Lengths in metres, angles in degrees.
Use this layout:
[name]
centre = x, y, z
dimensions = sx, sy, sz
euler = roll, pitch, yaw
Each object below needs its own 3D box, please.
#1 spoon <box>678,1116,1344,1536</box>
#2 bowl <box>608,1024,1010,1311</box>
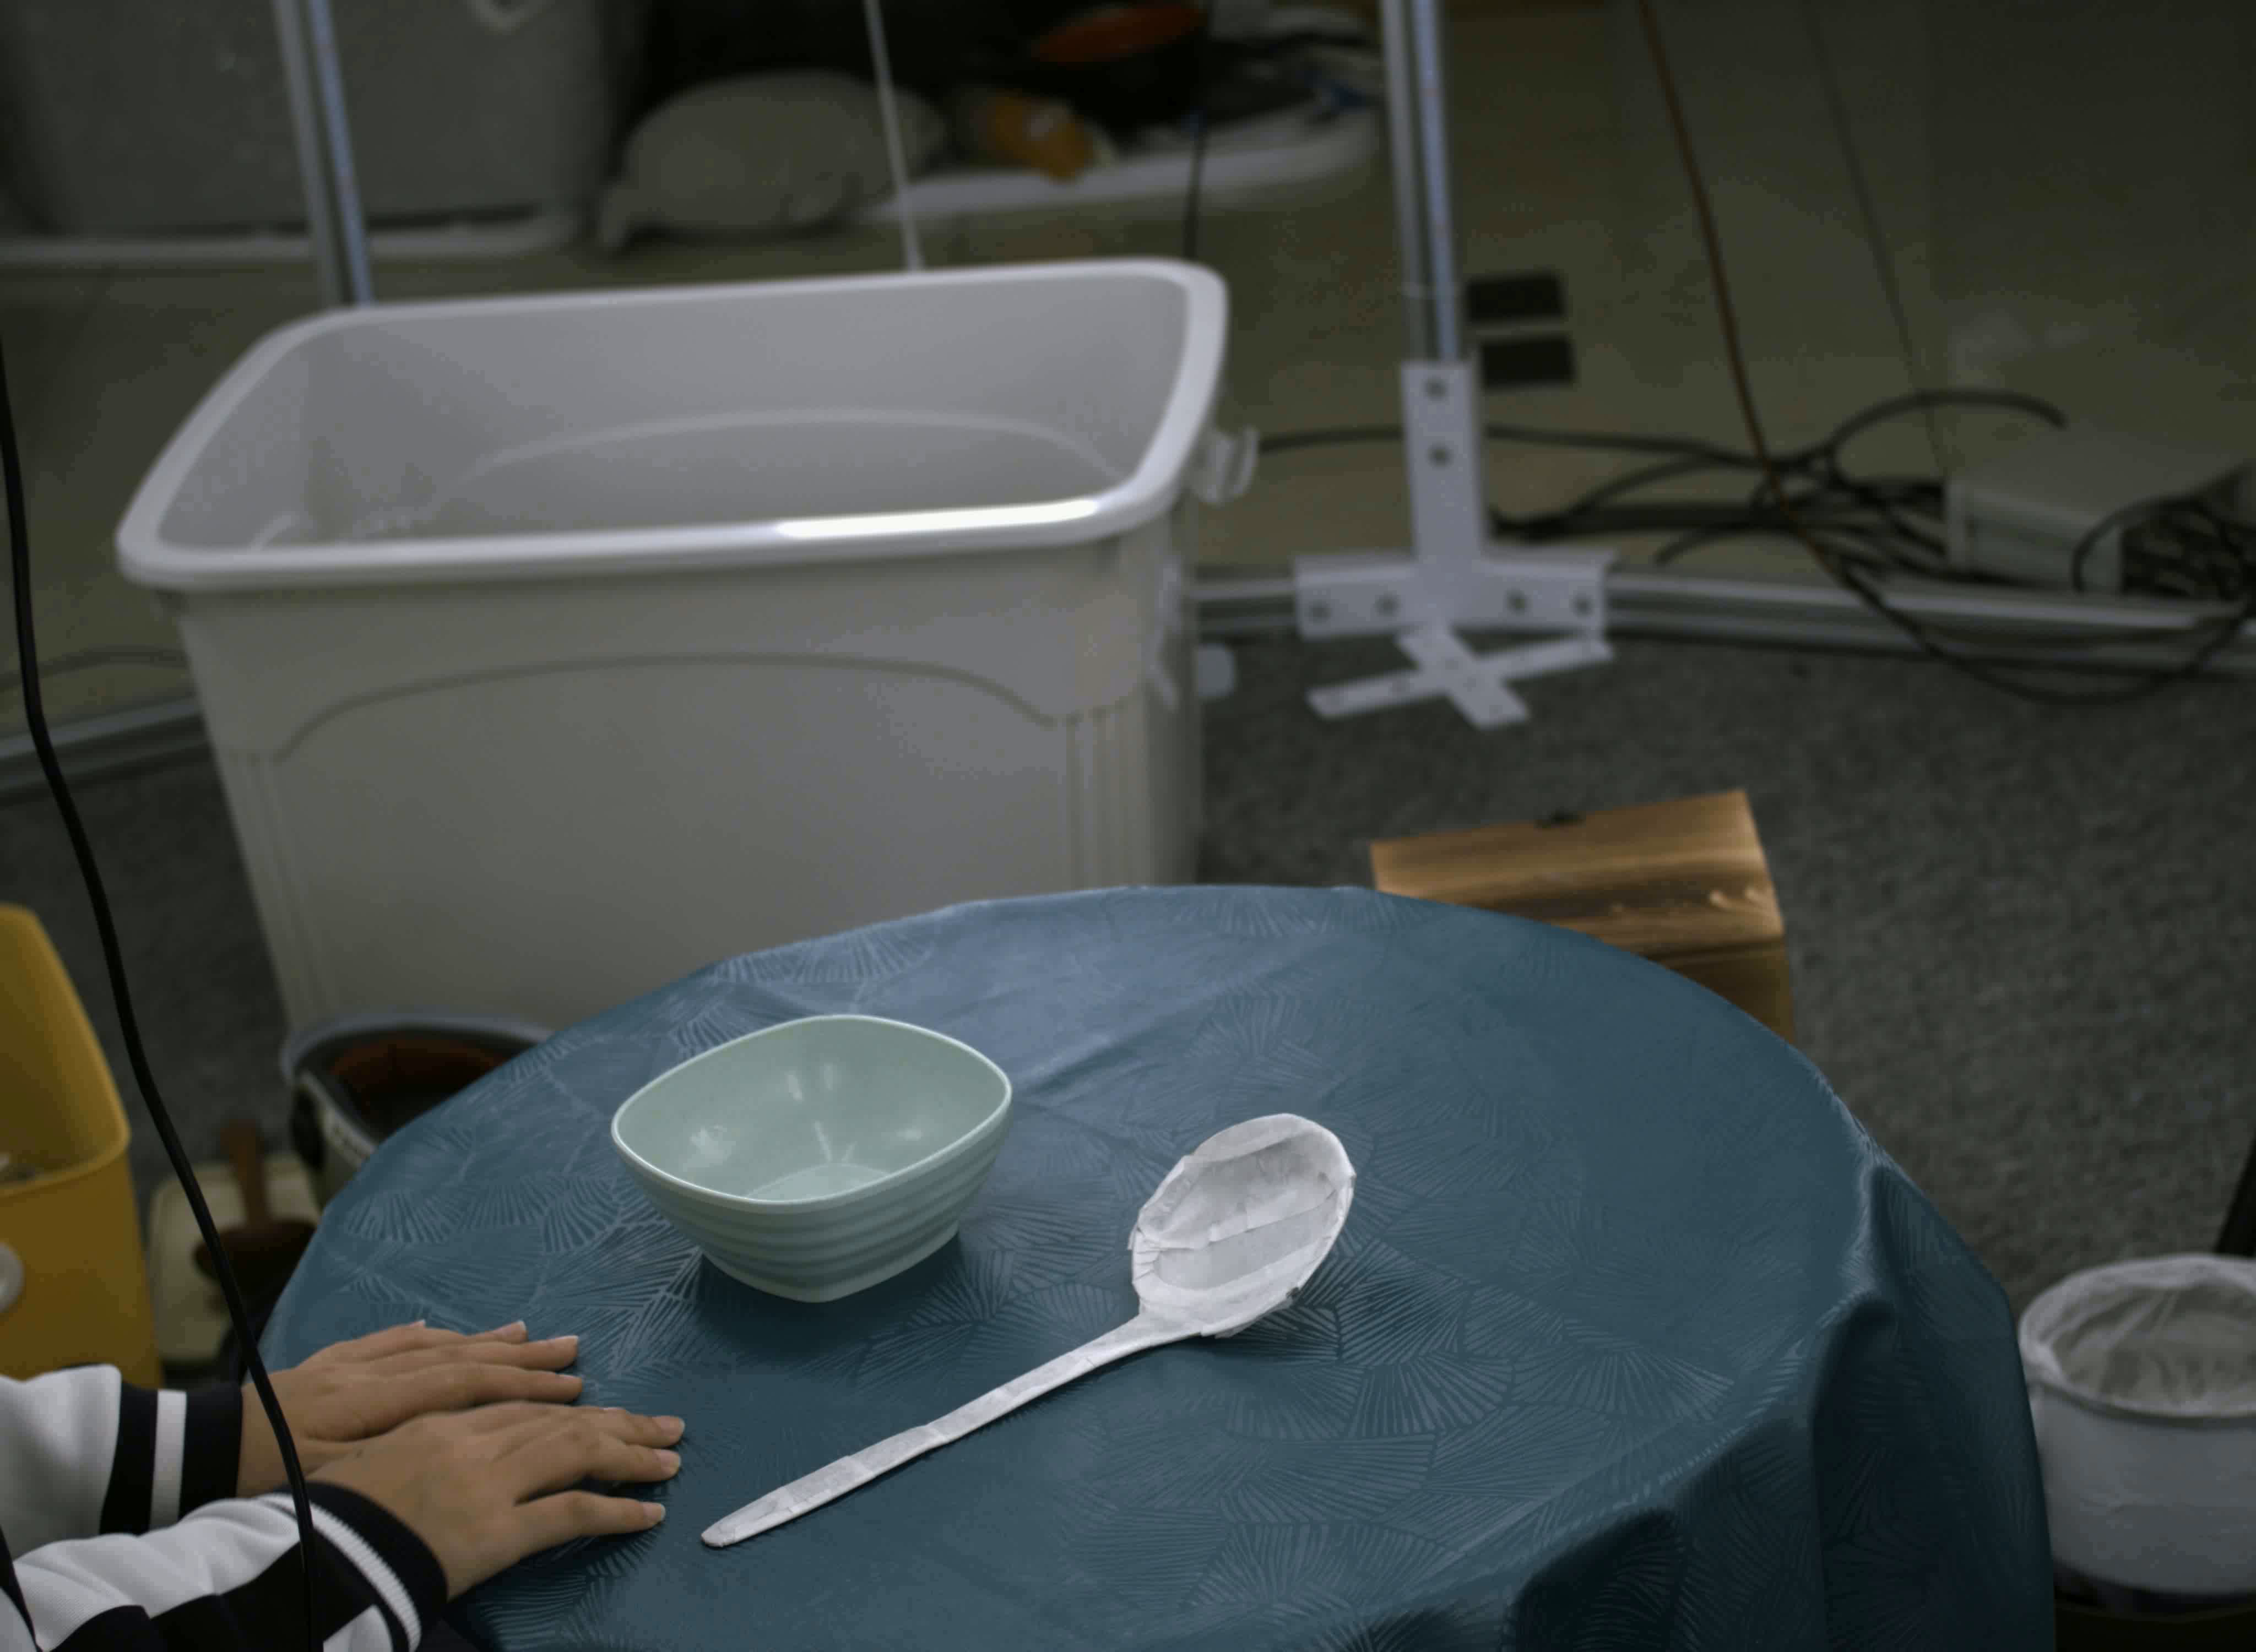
[spoon]
centre = -0.045, 0.175, 2.015
dimensions = 0.276, 0.060, 0.100
euler = -20, 23, -27
[bowl]
centre = -0.117, 0.133, 2.127
dimensions = 0.151, 0.059, 0.149
euler = -5, 25, 2
